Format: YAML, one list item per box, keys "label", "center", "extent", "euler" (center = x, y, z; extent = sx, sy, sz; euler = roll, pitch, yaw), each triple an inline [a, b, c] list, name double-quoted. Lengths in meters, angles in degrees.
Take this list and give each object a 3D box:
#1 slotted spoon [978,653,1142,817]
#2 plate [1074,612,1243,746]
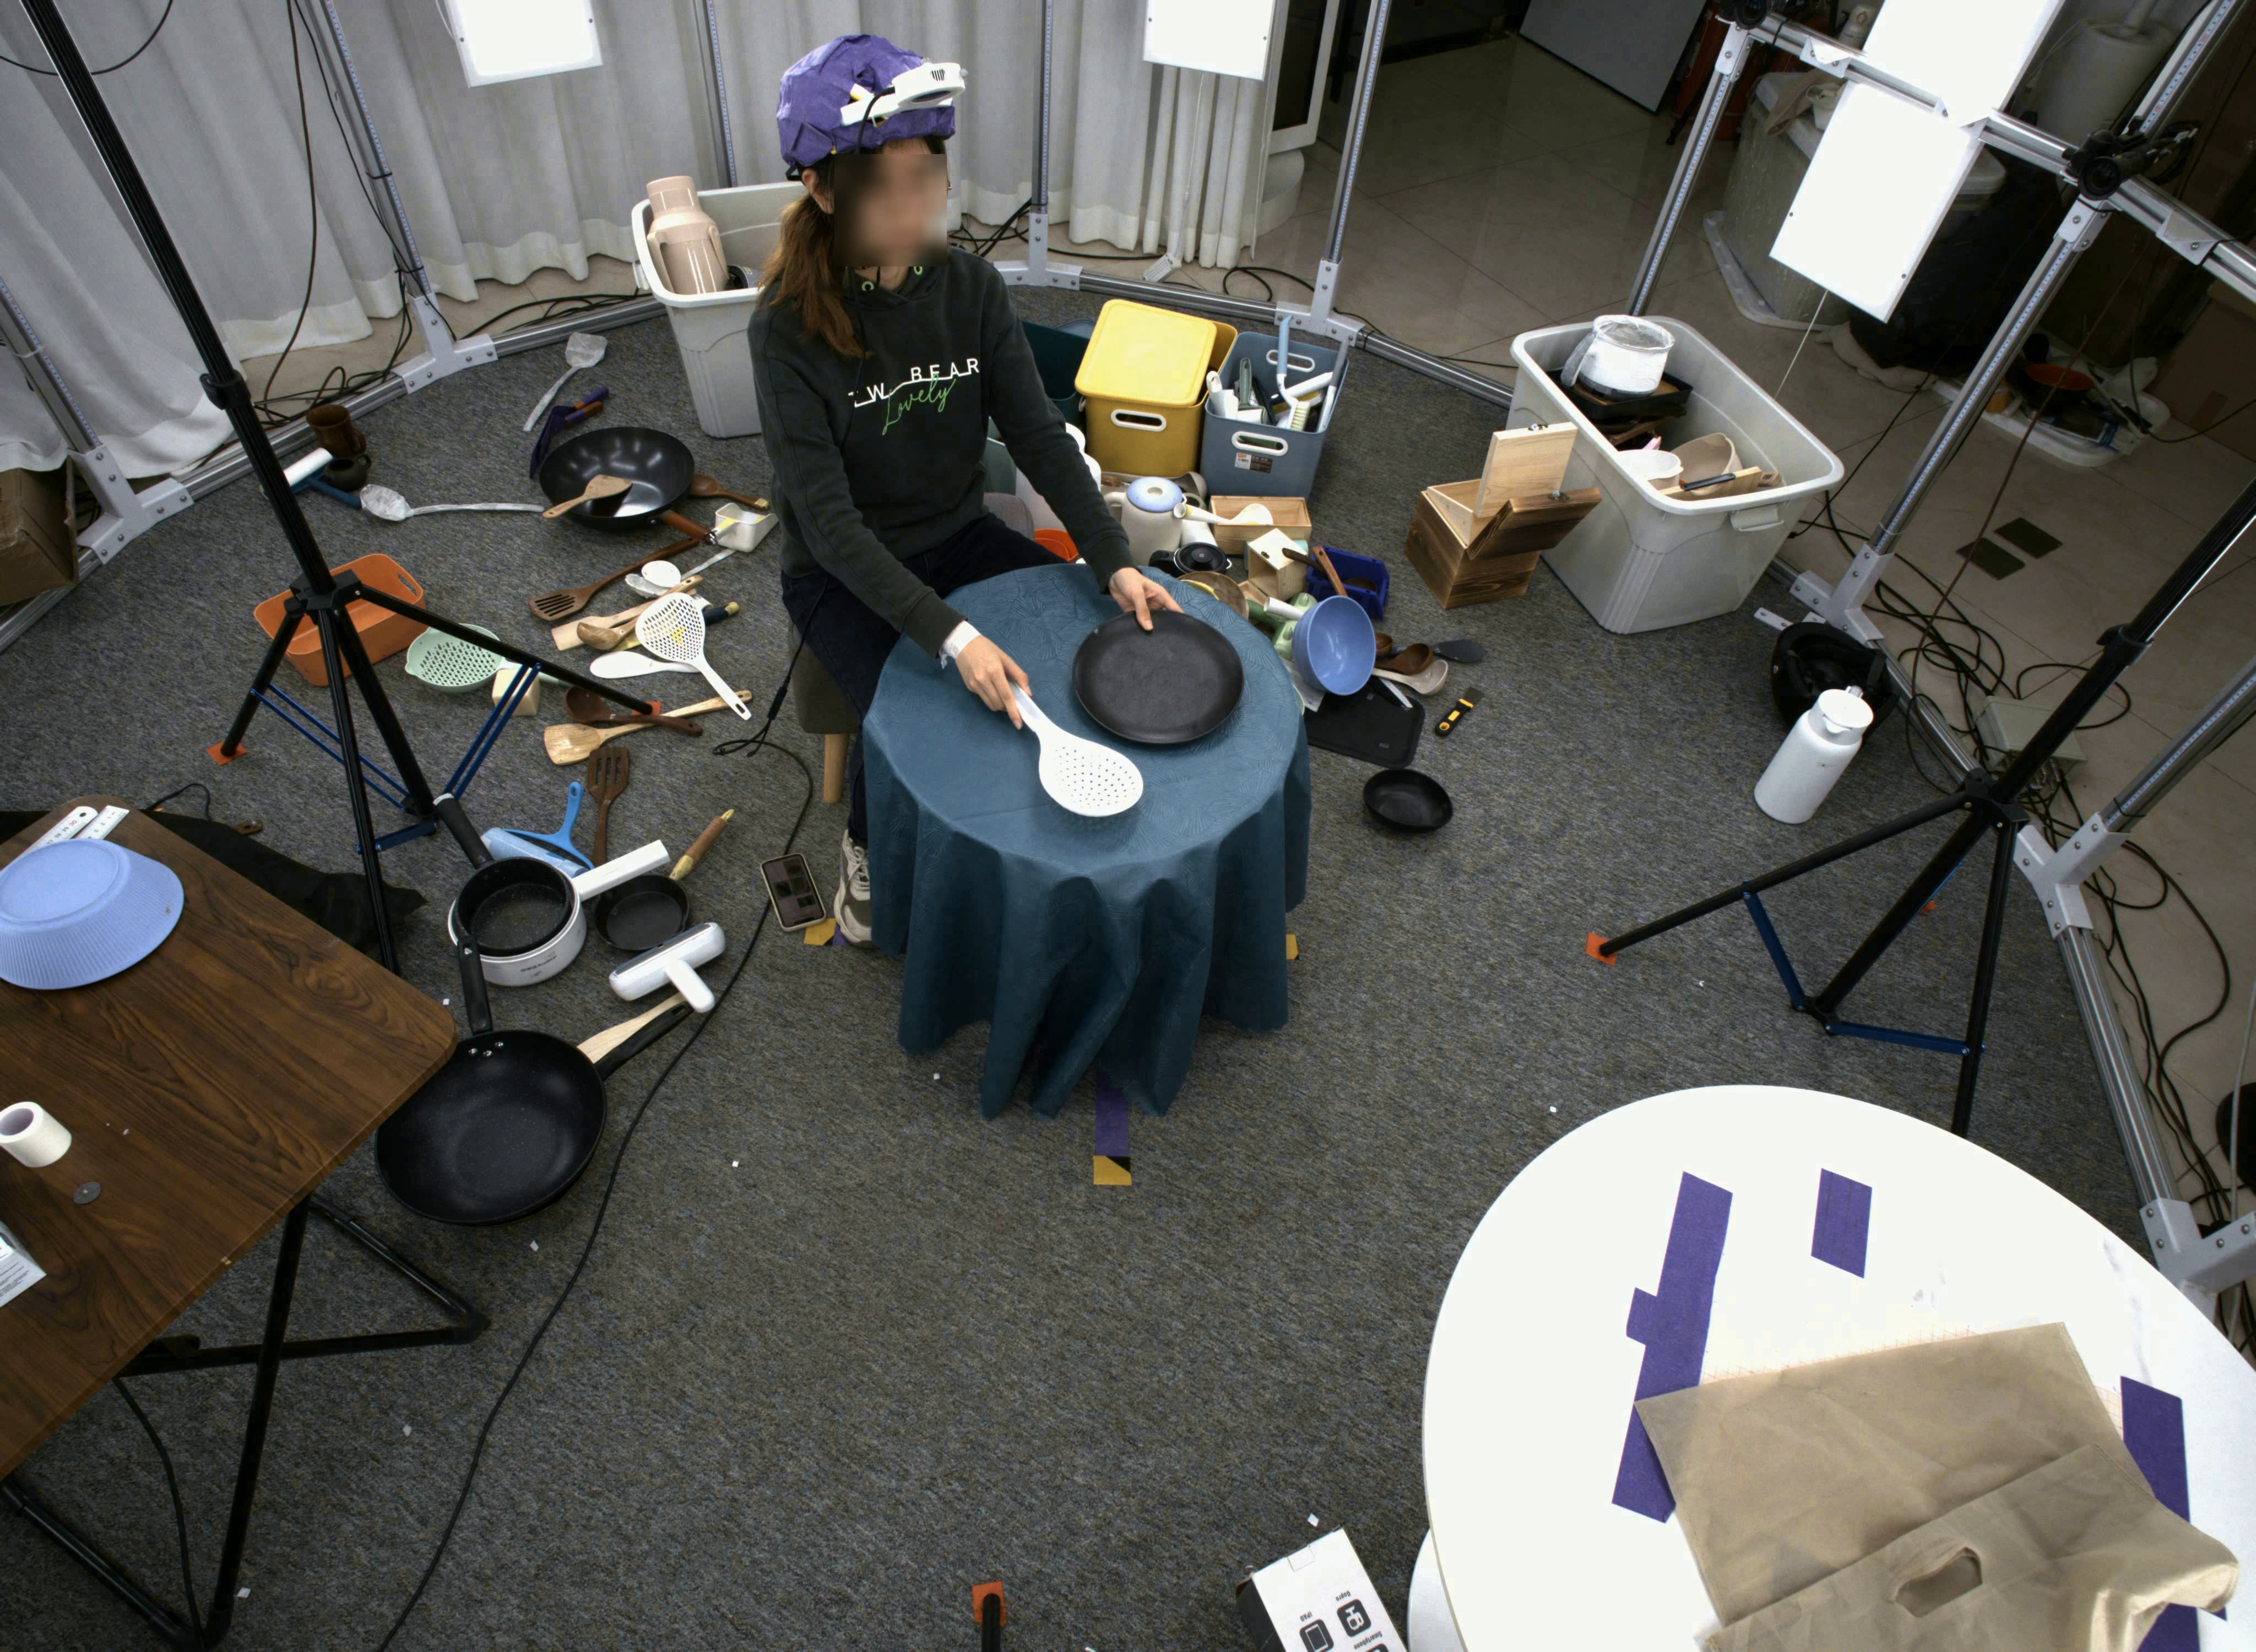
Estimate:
- label: "slotted spoon"
  center: [-0.109, -0.128, 1.746]
  extent: [0.136, 0.045, 0.356]
  euler: [-17, 55, -32]
- label: "plate"
  center: [0.044, -0.210, 1.841]
  extent: [0.244, 0.023, 0.250]
  euler: [1, 56, -2]
